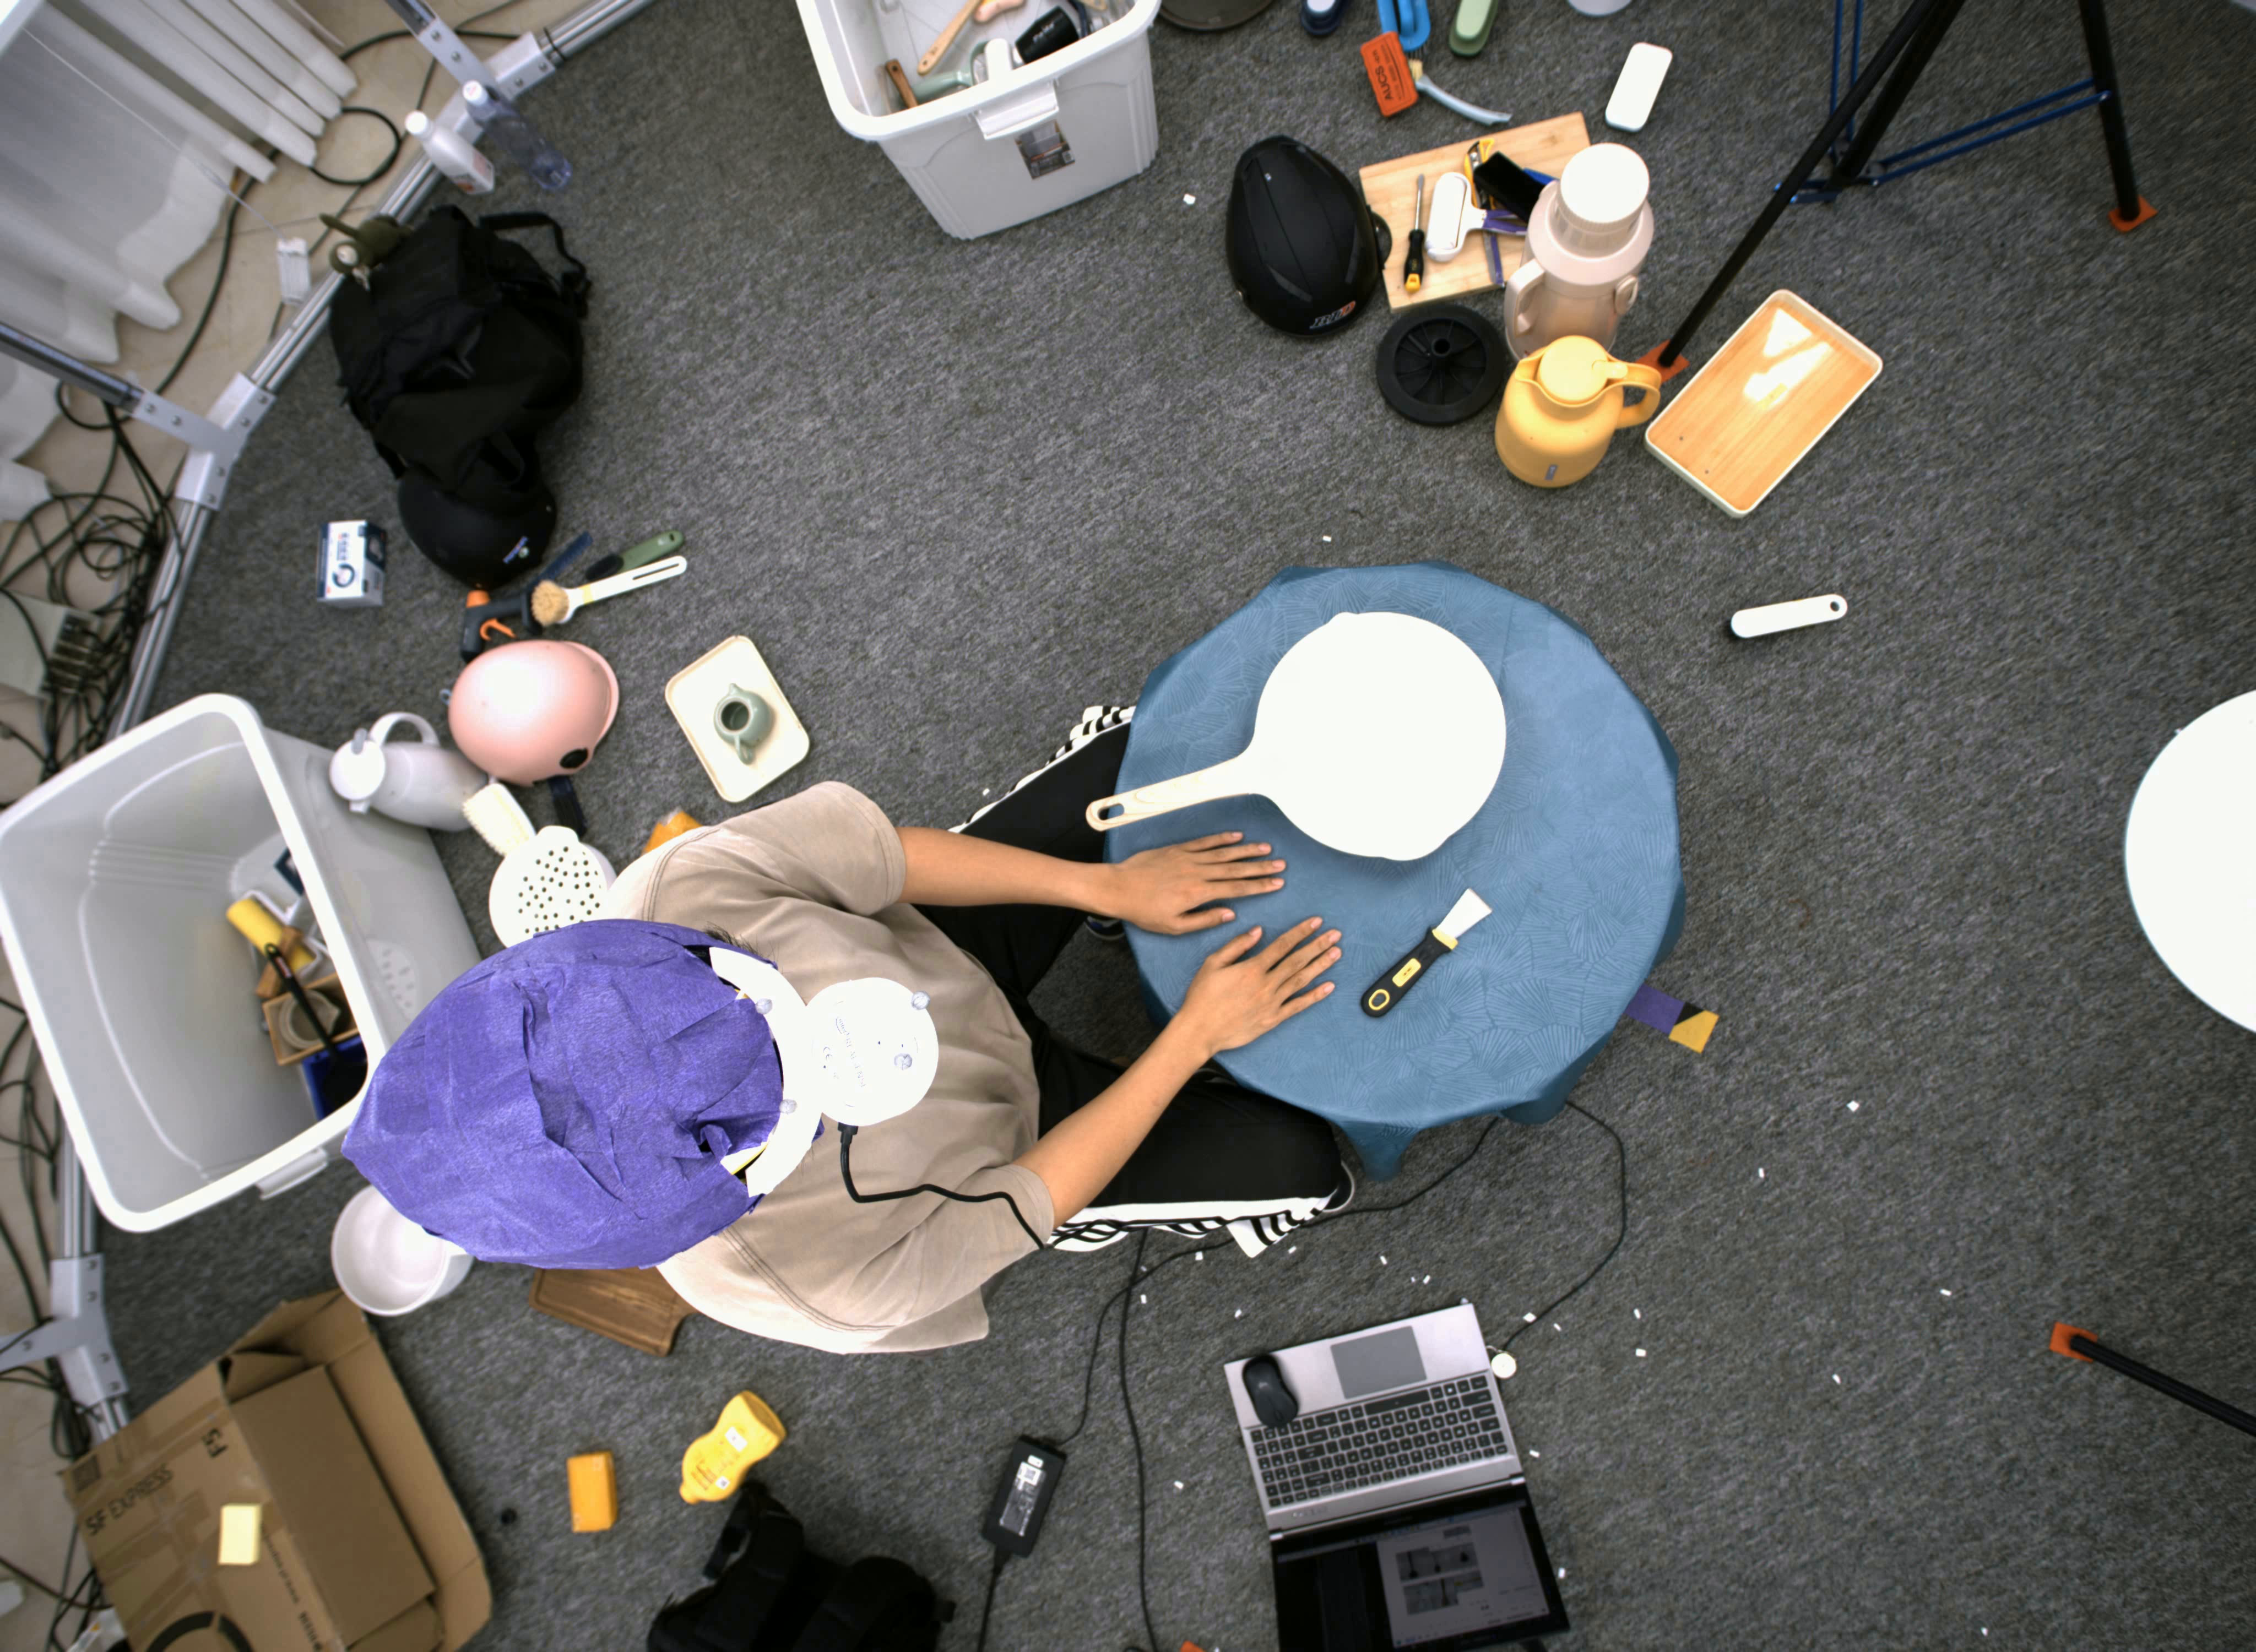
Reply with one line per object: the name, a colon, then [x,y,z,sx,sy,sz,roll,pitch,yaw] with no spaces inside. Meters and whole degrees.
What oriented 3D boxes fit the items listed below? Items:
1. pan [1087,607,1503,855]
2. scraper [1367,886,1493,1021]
pan: [0.170,-0.069,1.441,0.437,0.102,0.262,-18,86,9]
scraper: [0.312,0.135,1.442,0.039,0.015,0.171,43,92,5]
